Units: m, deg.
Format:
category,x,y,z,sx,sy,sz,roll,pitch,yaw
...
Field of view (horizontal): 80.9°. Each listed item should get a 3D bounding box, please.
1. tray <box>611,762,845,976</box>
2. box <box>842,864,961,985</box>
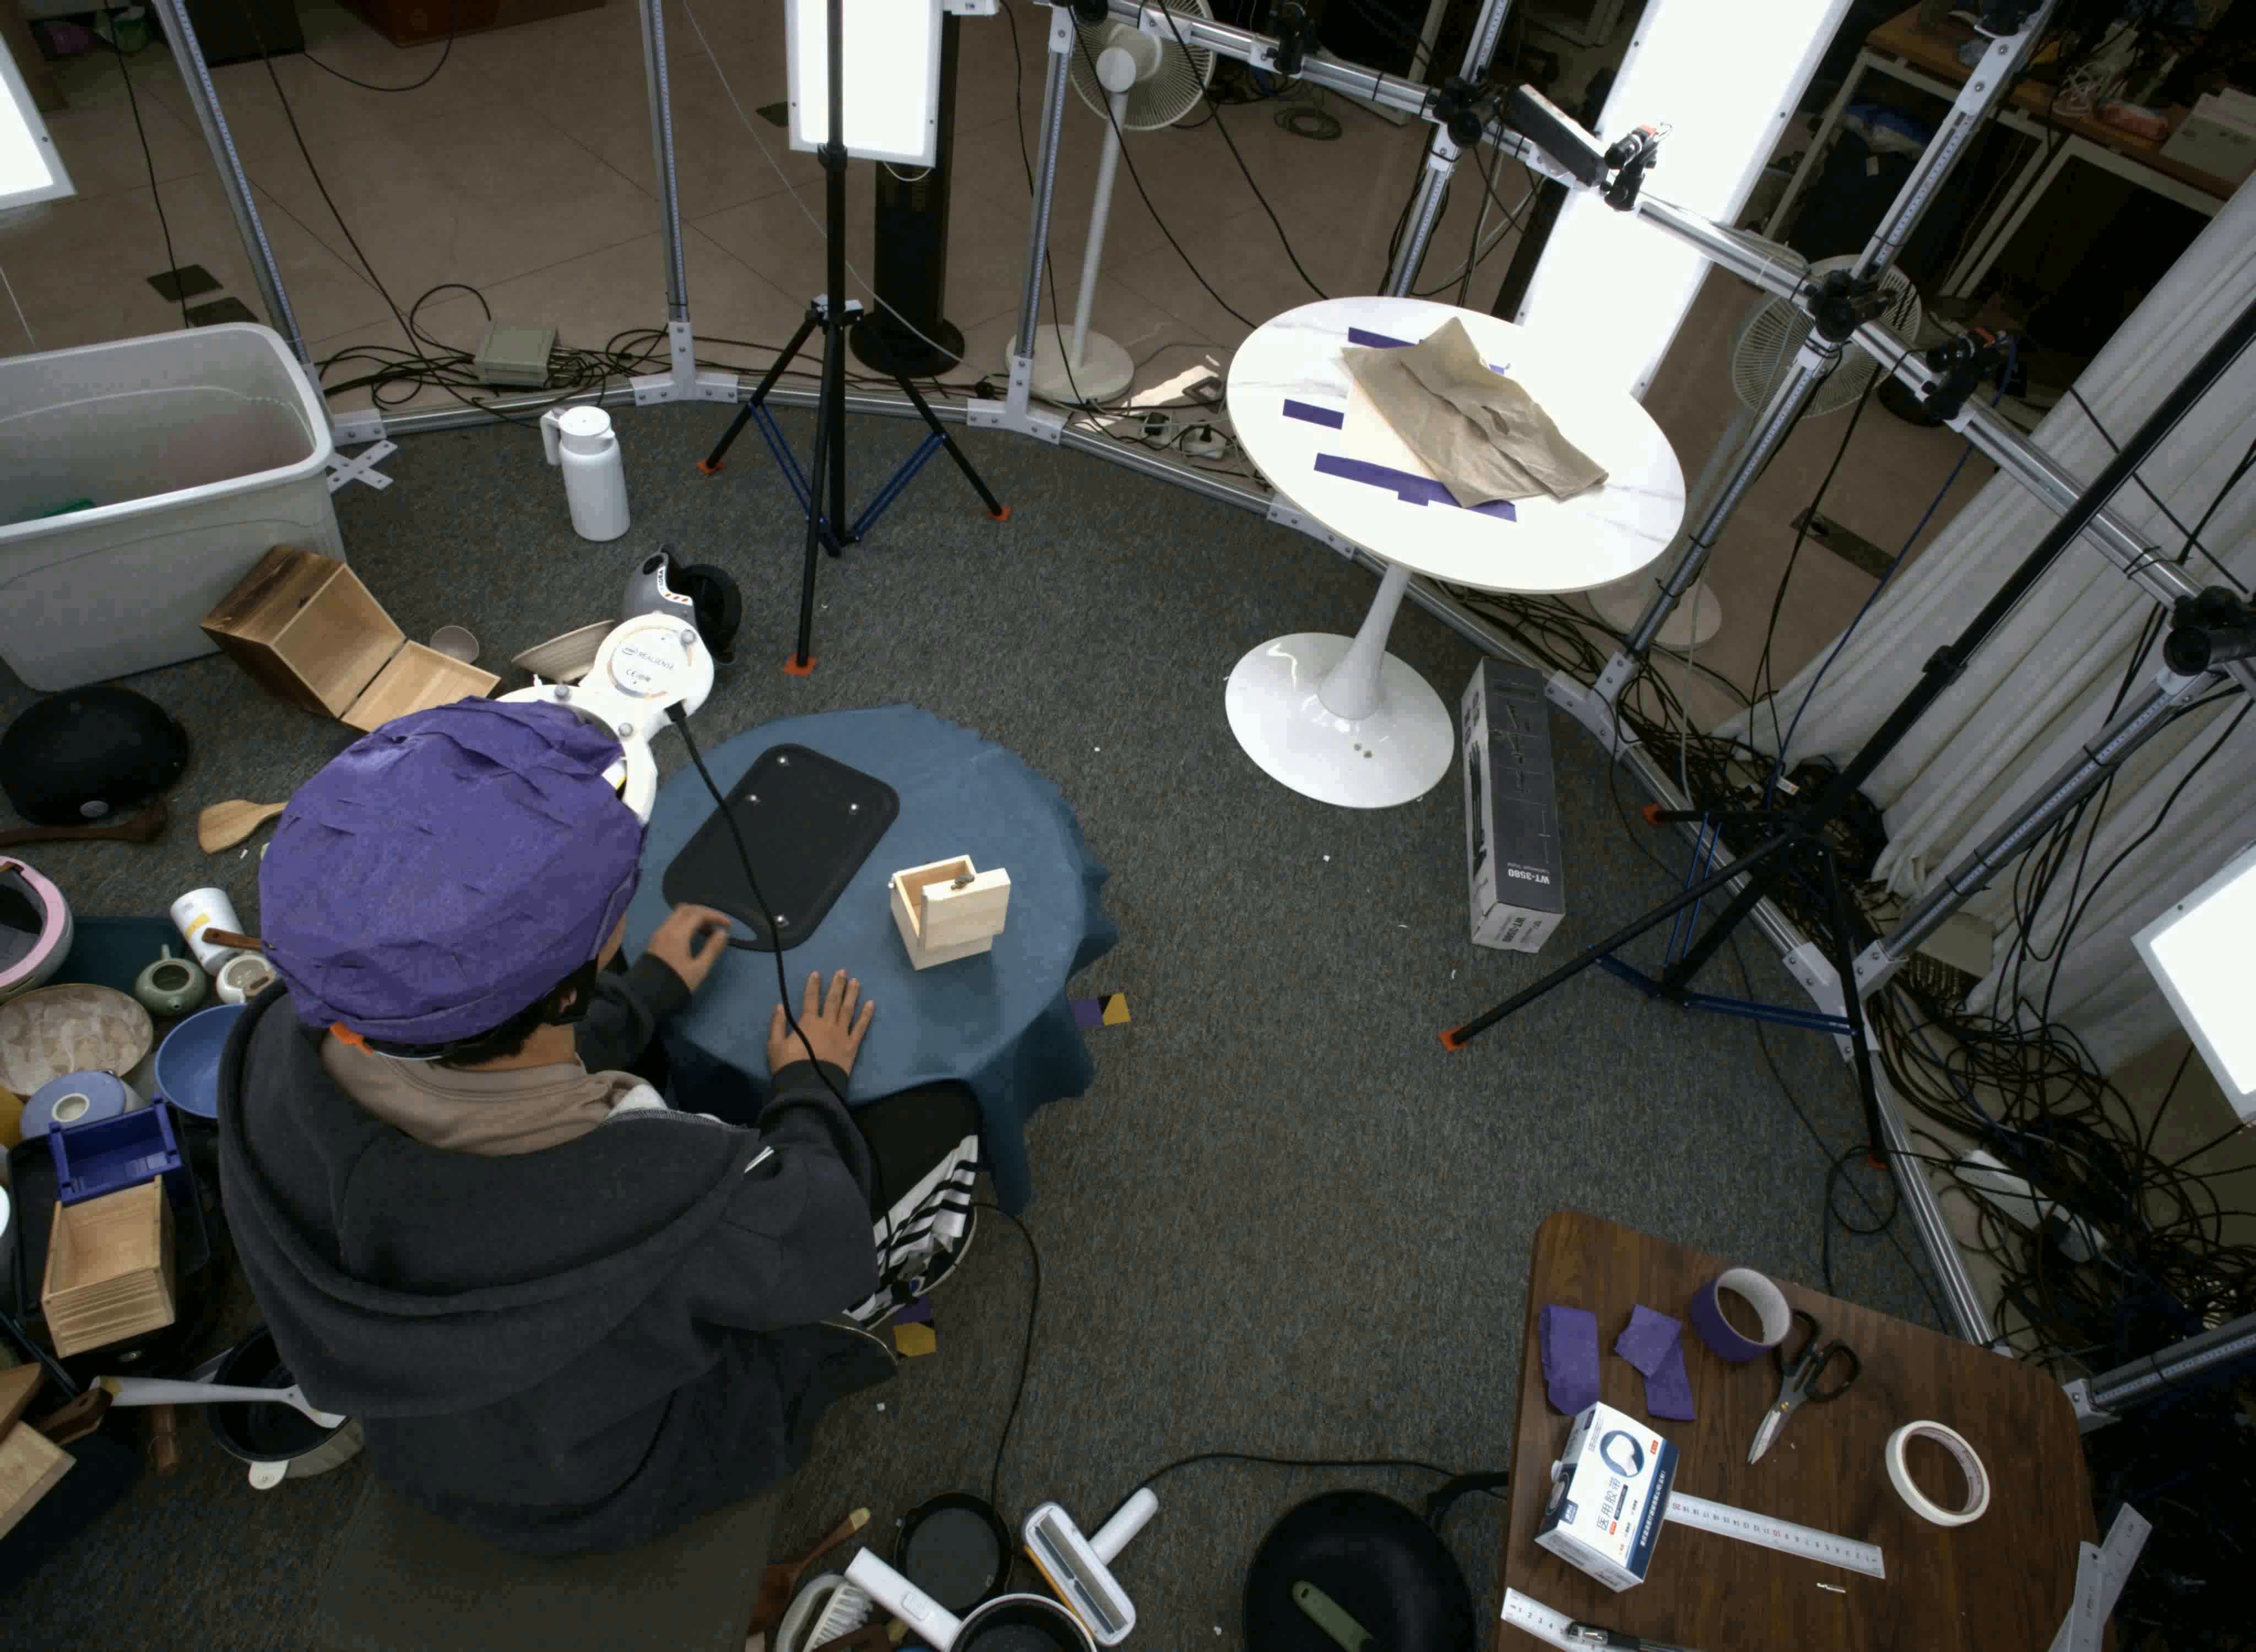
category,x,y,z,sx,sy,sz,roll,pitch,yaw
tray,-0.515,0.050,1.664,0.208,0.010,0.322,22,52,3
box,-0.278,0.094,1.577,0.103,0.188,0.130,-19,59,-25
